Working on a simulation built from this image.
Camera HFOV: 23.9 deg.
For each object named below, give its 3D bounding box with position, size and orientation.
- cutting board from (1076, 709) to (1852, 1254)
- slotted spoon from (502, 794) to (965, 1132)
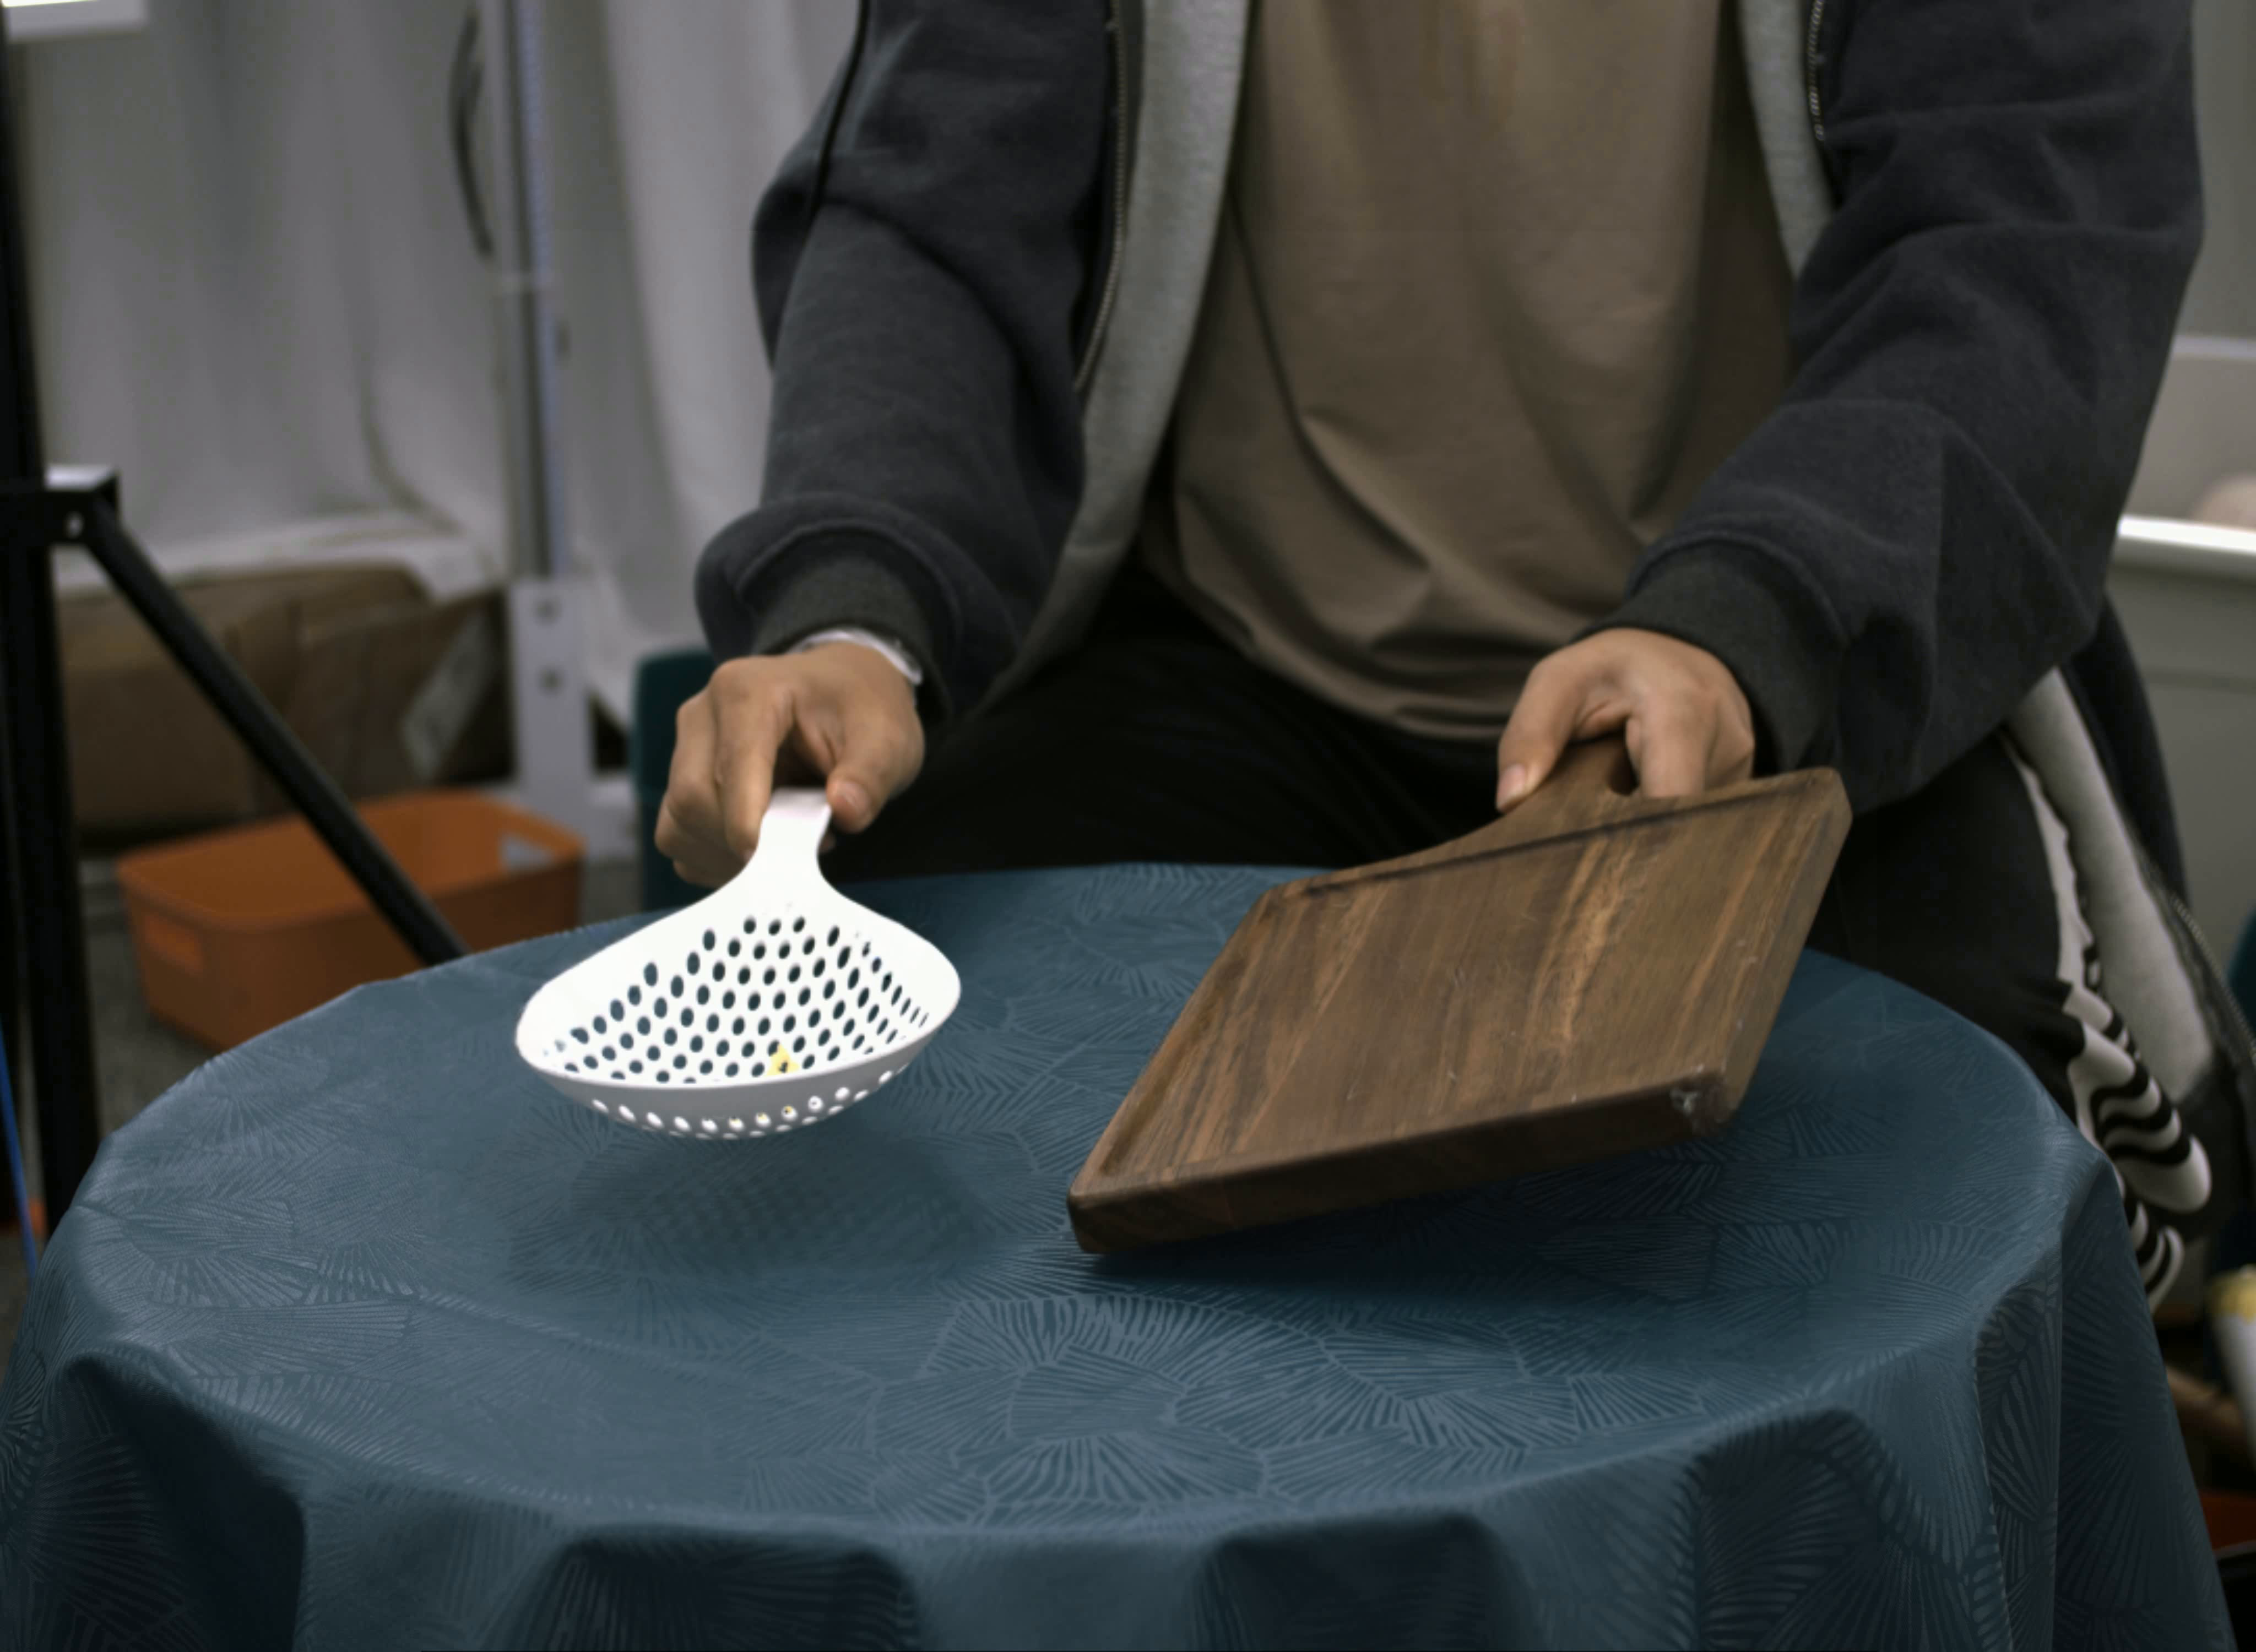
[{"bbox_3d":[0.116,0.032,1.608,0.203,0.023,0.350,-13,17,20],"label":"cutting board"},{"bbox_3d":[-0.112,0.028,1.673,0.136,0.050,0.349,-6,20,3],"label":"slotted spoon"}]
